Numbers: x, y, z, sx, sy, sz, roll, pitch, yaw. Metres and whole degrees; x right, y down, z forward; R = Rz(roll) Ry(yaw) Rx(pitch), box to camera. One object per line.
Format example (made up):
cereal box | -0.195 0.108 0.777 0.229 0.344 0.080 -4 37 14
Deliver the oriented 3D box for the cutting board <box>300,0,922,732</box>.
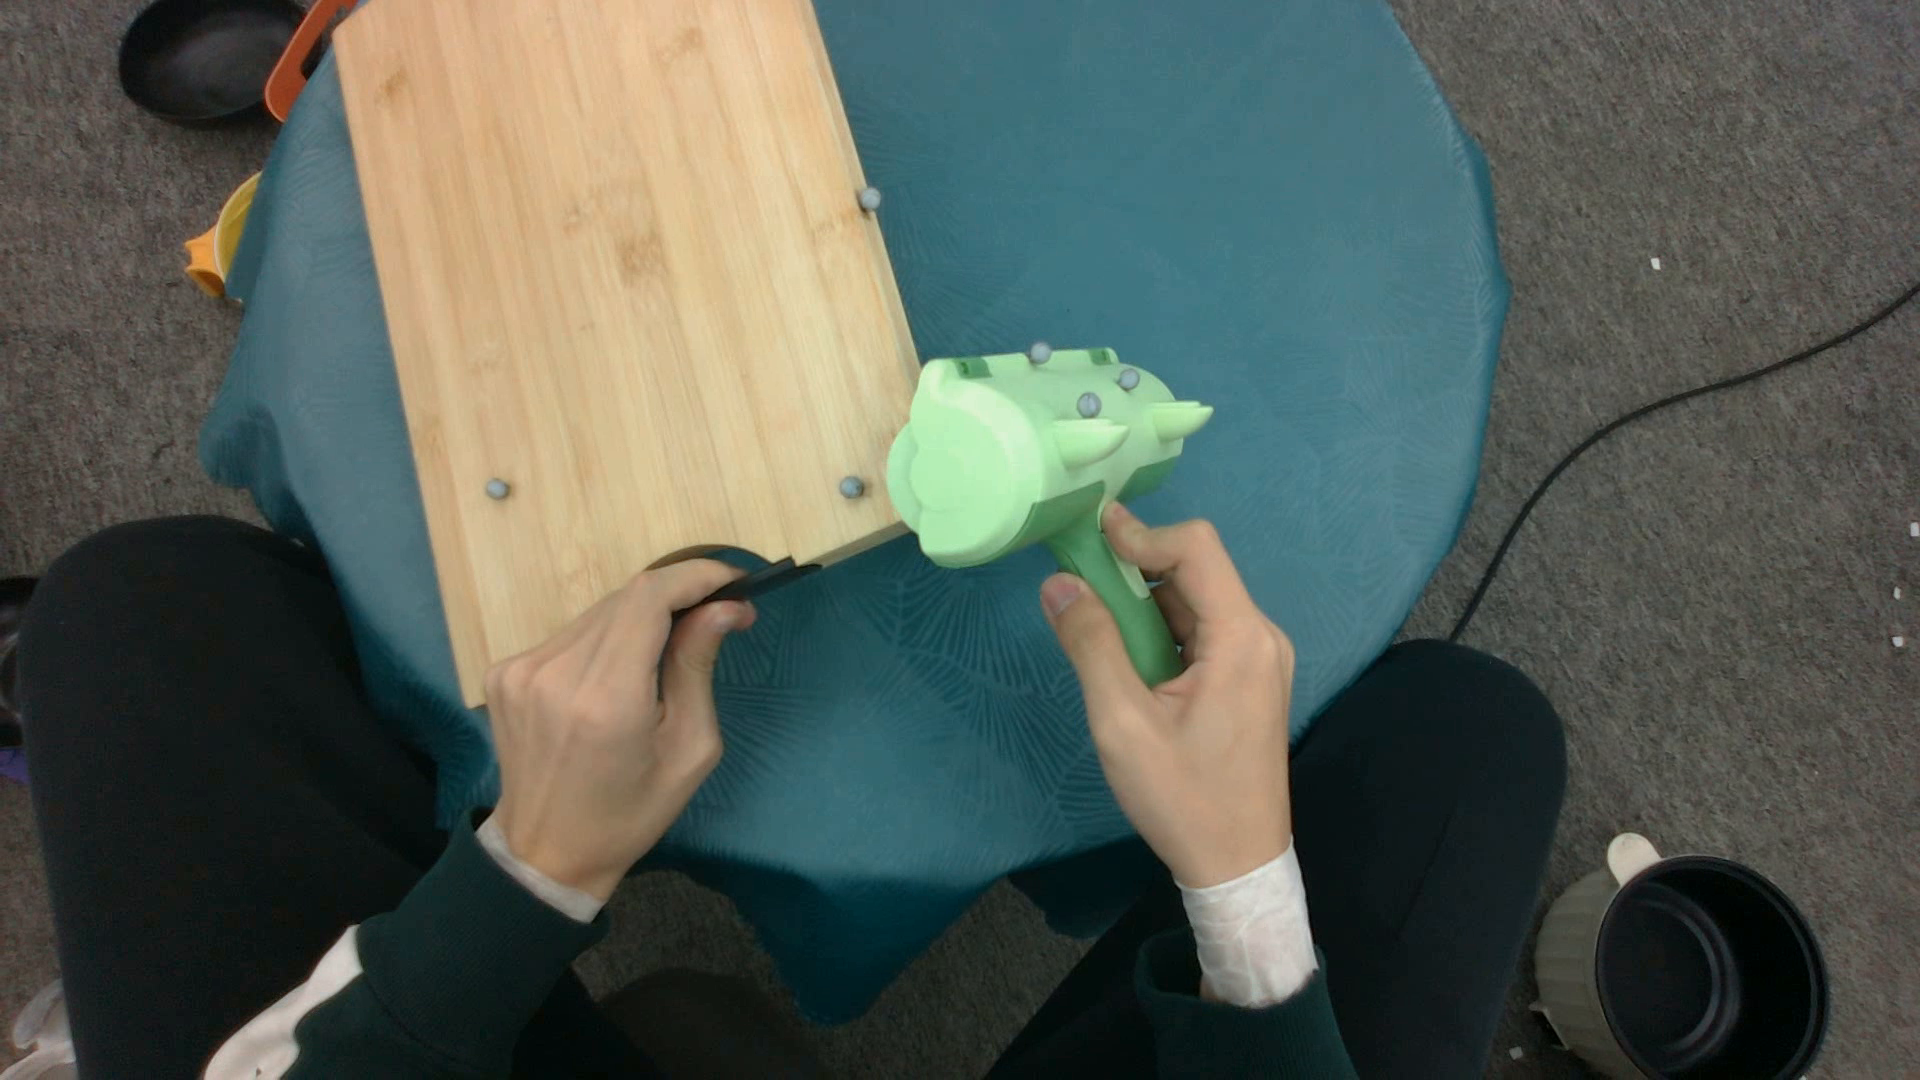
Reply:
cutting board | -0.160 -0.124 0.578 0.250 0.023 0.349 -25 75 23

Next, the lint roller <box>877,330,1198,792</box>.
lint roller | 0.062 0.001 0.520 0.082 0.199 0.183 -32 86 23
